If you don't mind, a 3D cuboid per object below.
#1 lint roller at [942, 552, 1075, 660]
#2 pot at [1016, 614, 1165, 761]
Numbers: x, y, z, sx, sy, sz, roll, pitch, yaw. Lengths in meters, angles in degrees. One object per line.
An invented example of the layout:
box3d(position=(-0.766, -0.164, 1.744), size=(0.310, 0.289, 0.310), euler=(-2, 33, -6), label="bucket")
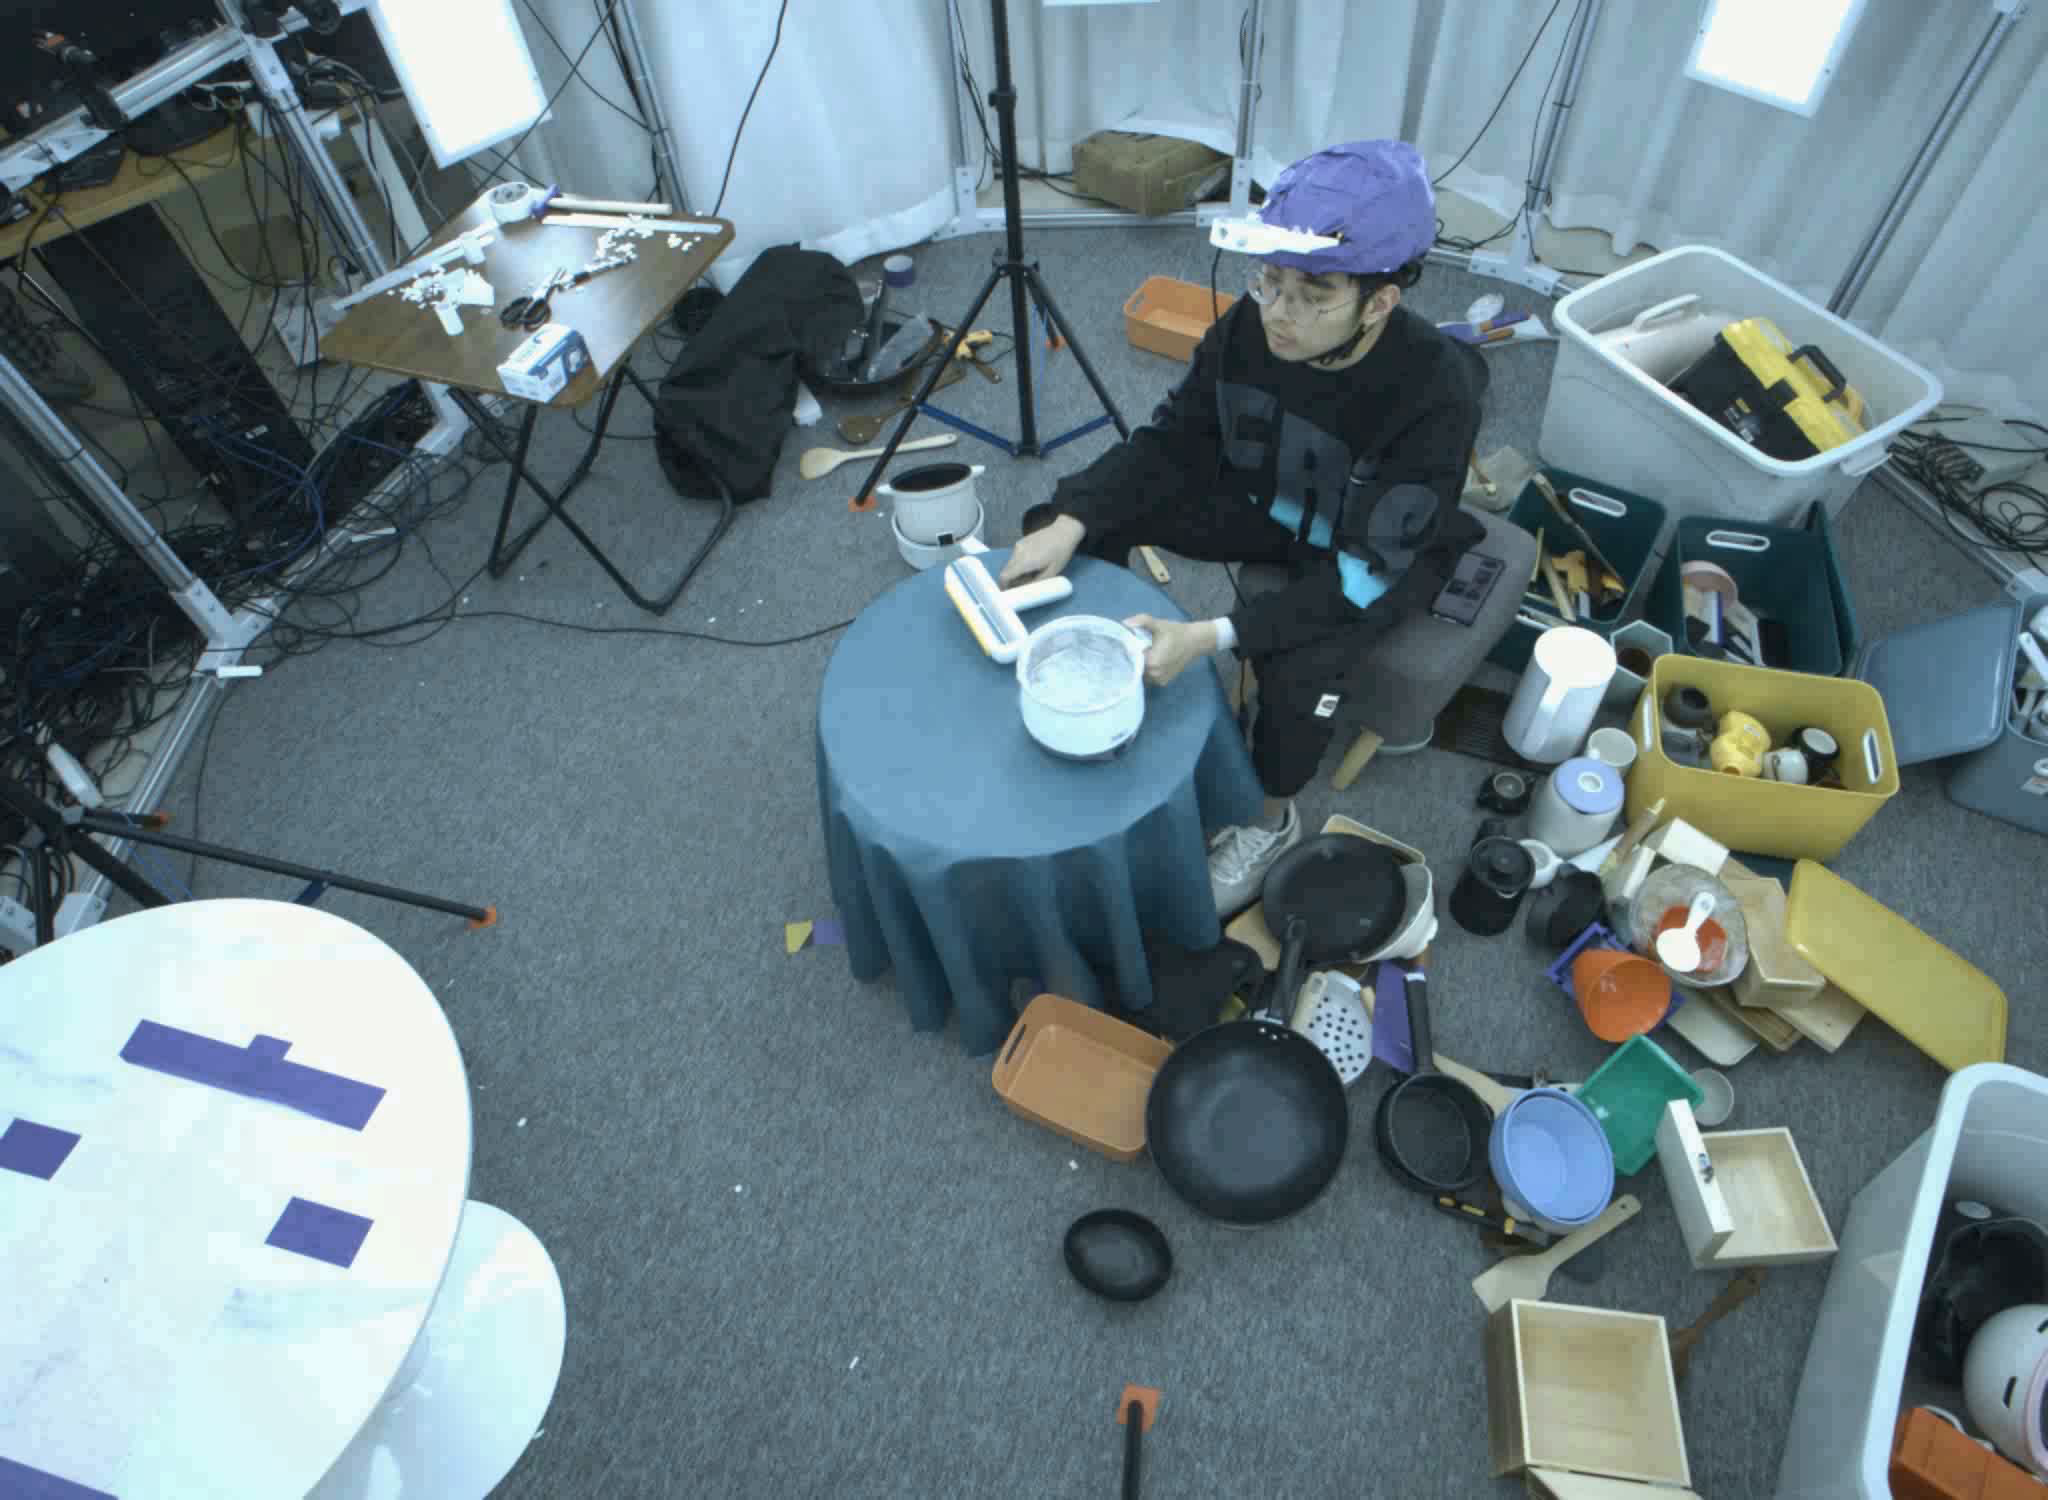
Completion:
box3d(position=(-0.009, -0.239, 1.912), size=(0.194, 0.075, 0.190), euler=(-22, 62, -15), label="lint roller")
box3d(position=(0.103, -0.099, 1.763), size=(0.235, 0.138, 0.175), euler=(-33, 61, -18), label="pot")
